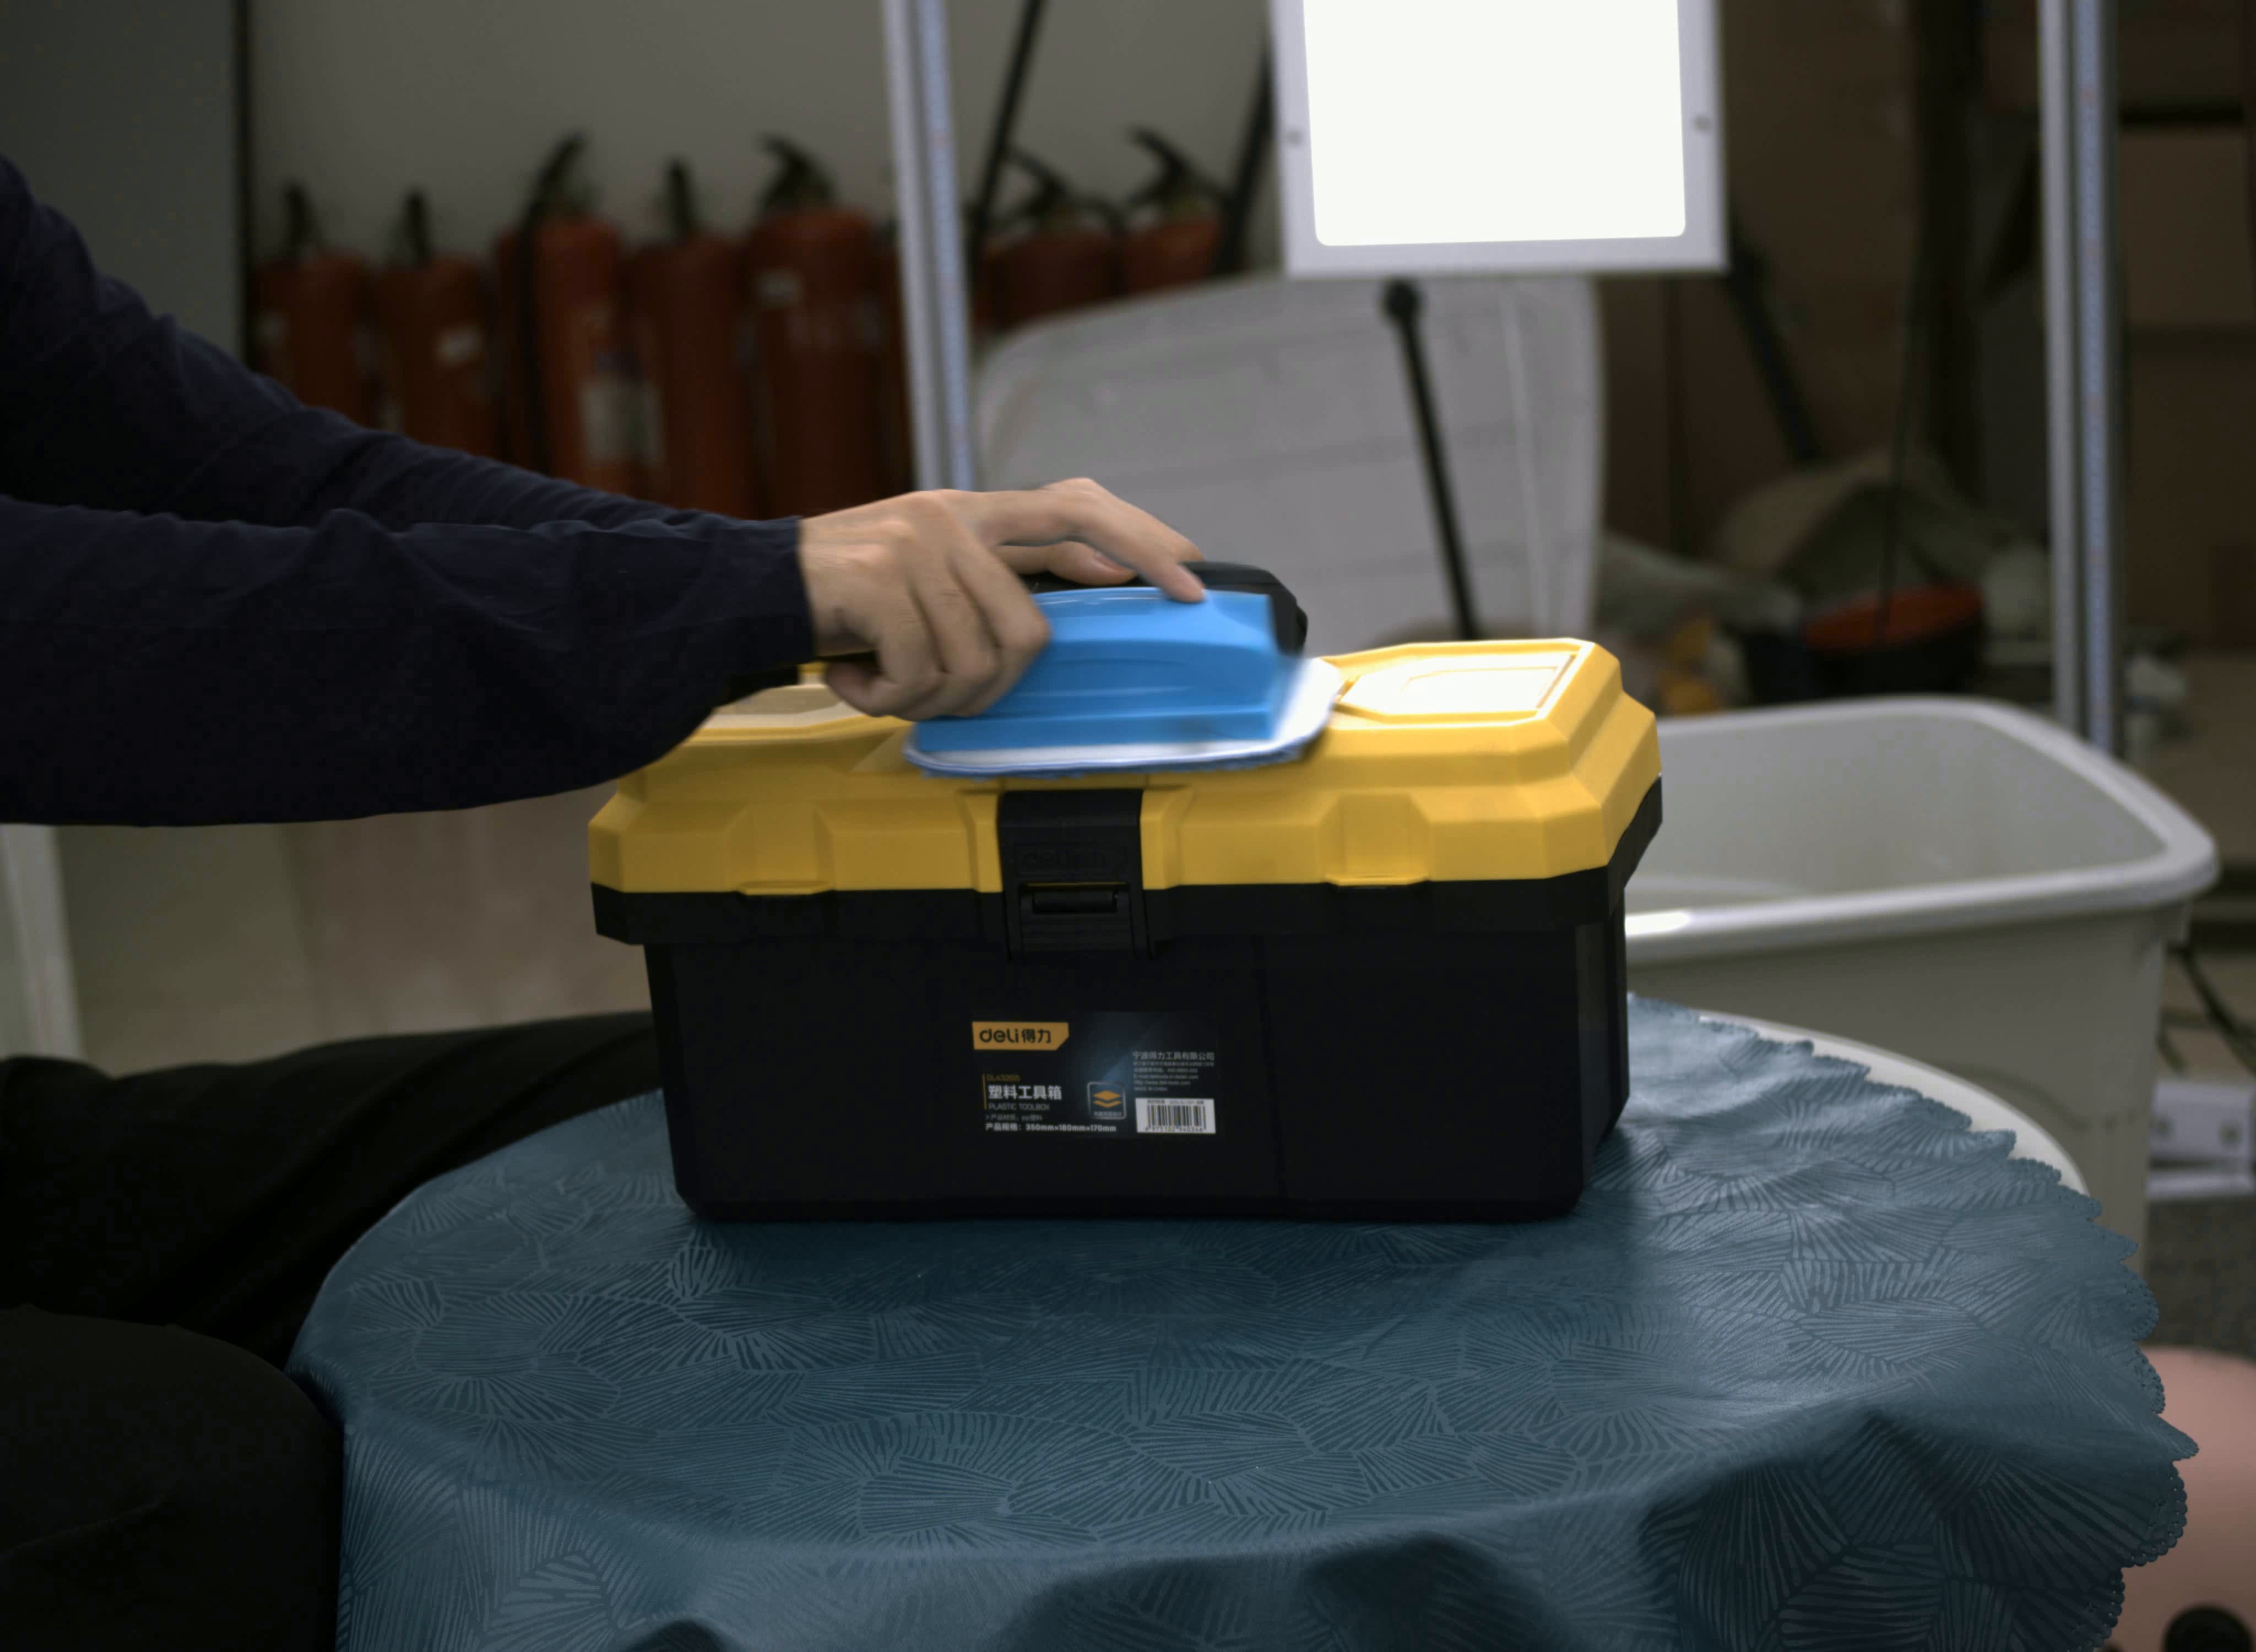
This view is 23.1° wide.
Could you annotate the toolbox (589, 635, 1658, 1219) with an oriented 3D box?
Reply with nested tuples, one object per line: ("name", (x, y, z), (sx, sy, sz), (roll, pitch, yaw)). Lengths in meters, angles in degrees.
("toolbox", (0.002, 0.034, 1.901), (0.355, 0.173, 0.179), (0, 14, 16))

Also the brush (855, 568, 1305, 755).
("brush", (-0.017, -0.056, 1.821), (0.145, 0.056, 0.082), (0, 23, 18))
